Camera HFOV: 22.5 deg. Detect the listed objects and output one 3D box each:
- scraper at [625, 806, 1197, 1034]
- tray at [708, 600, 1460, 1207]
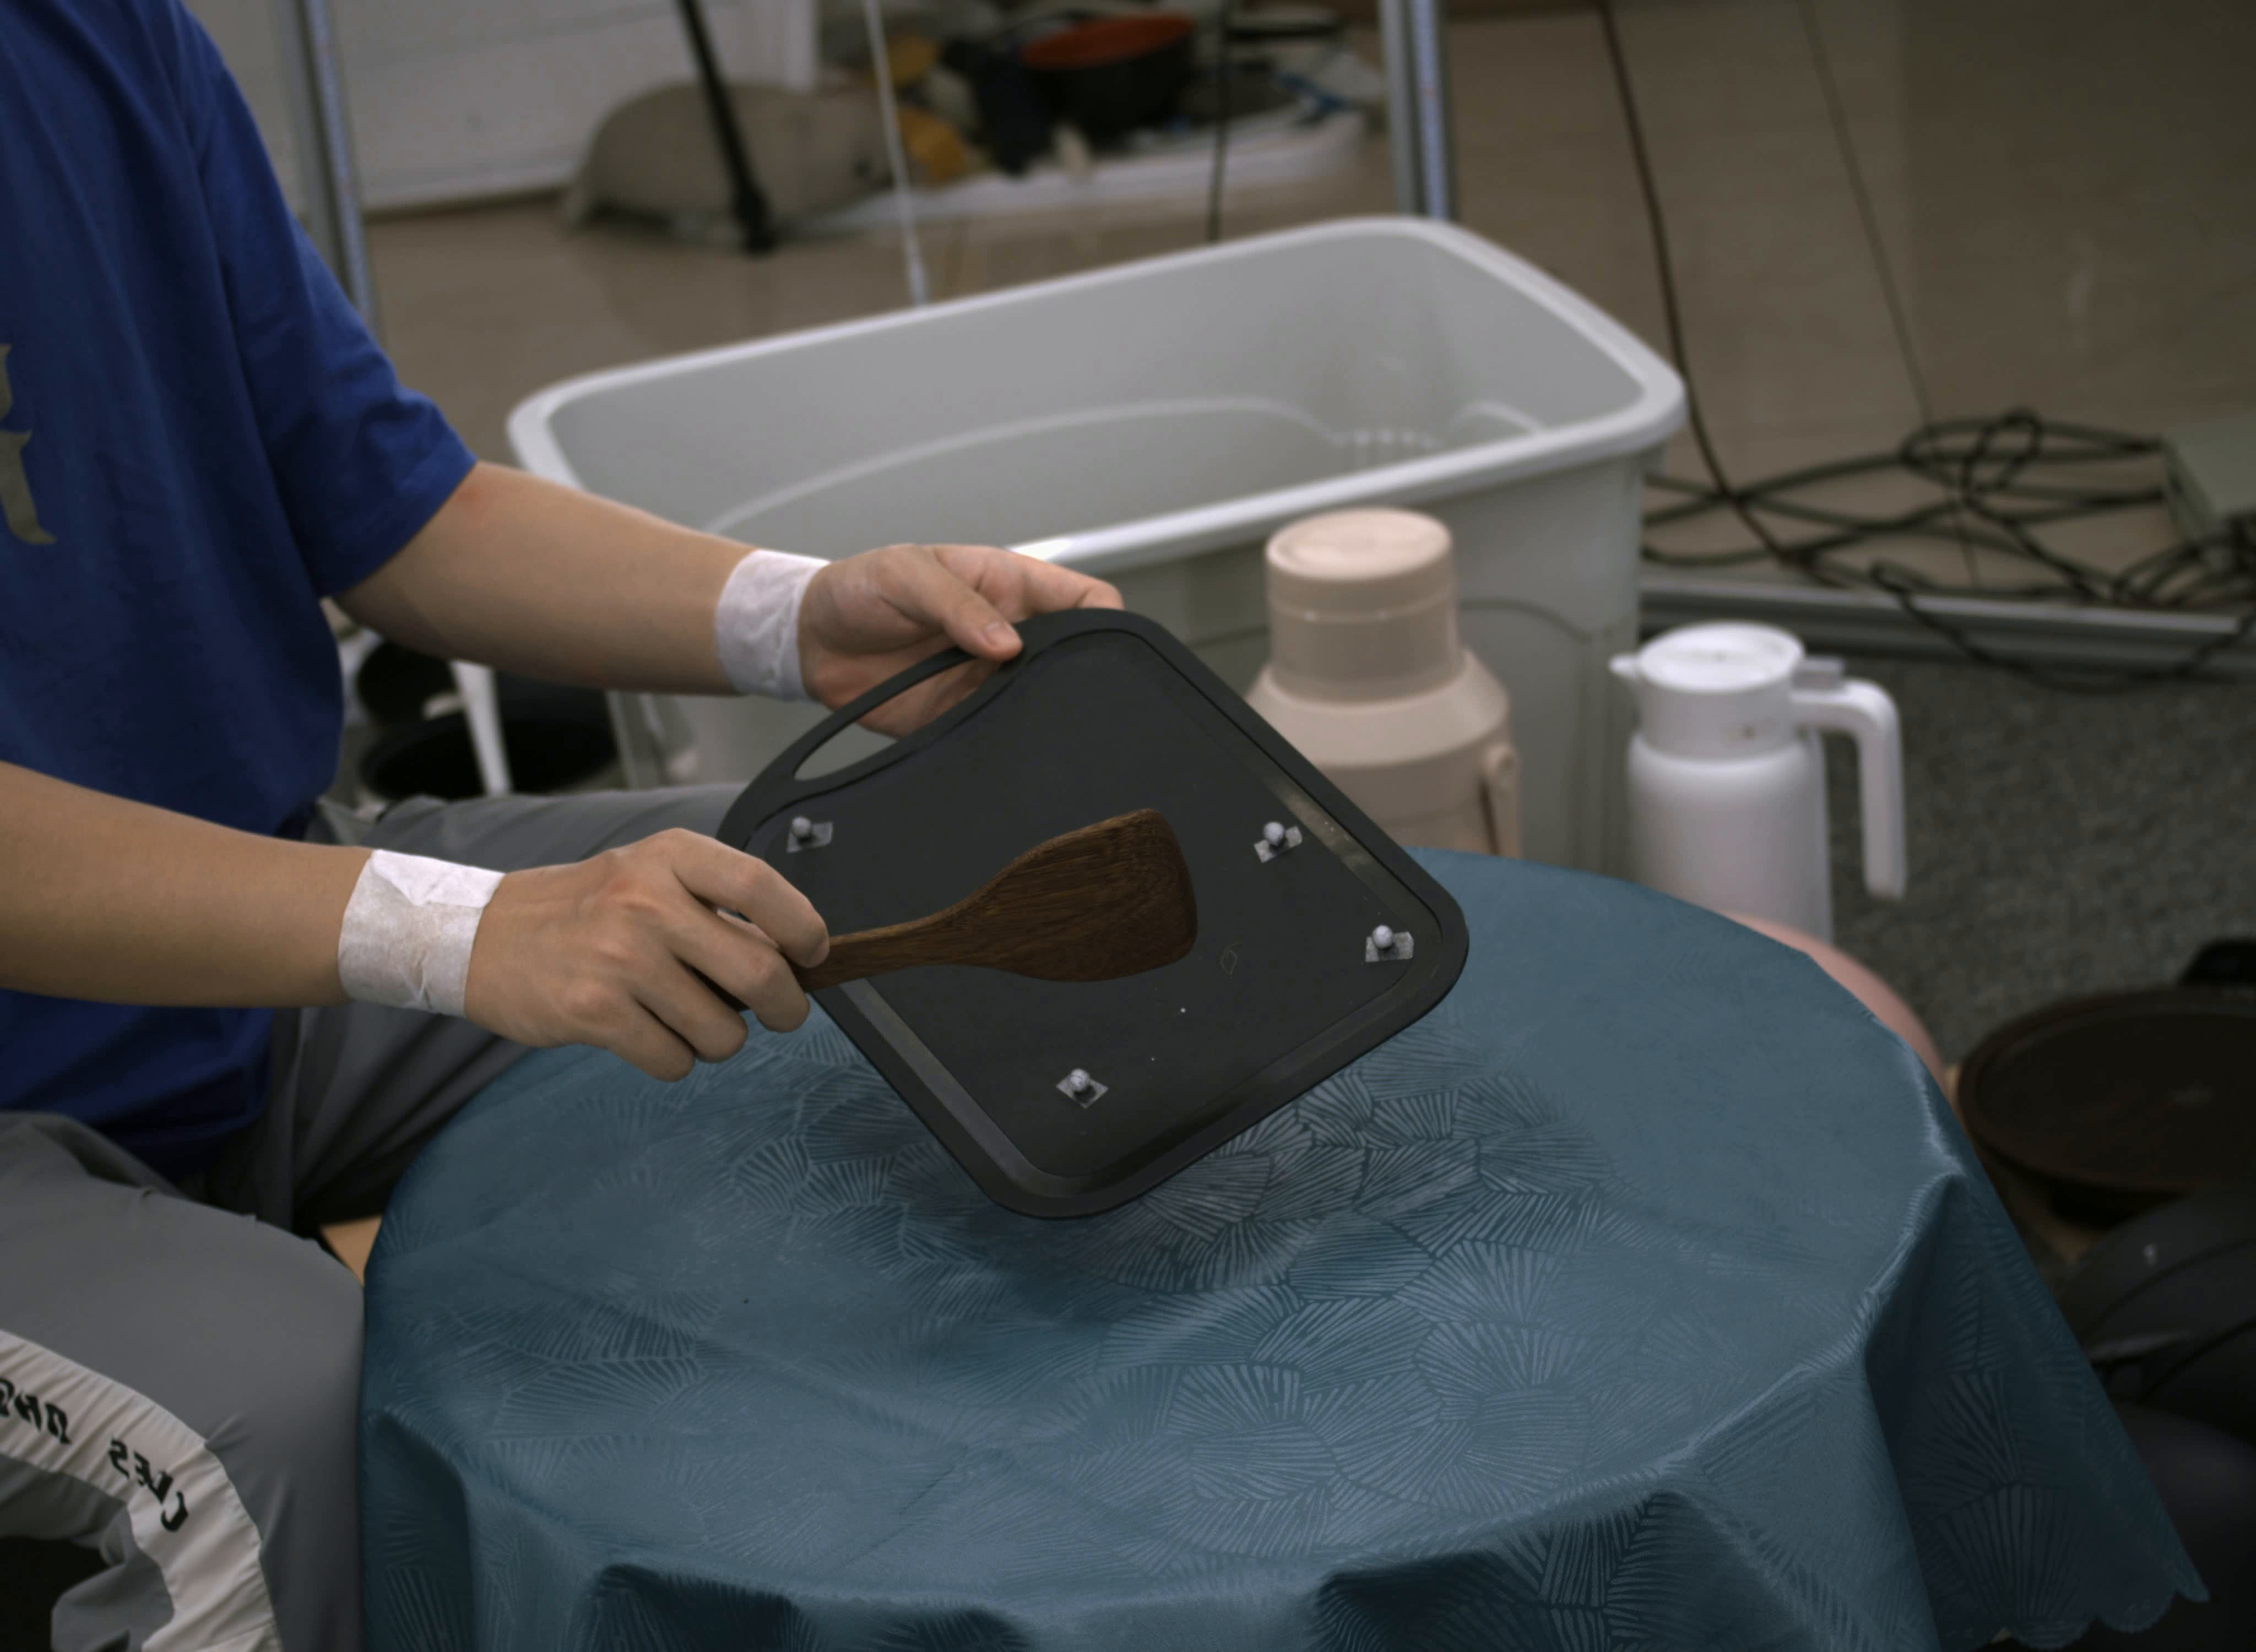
[{"bbox_3d":[-0.080,0.043,2.061,0.211,0.077,0.010,-13,41,6],"label":"scraper"},{"bbox_3d":[-0.027,0.019,2.176,0.210,0.010,0.321,-32,43,-12],"label":"tray"}]
